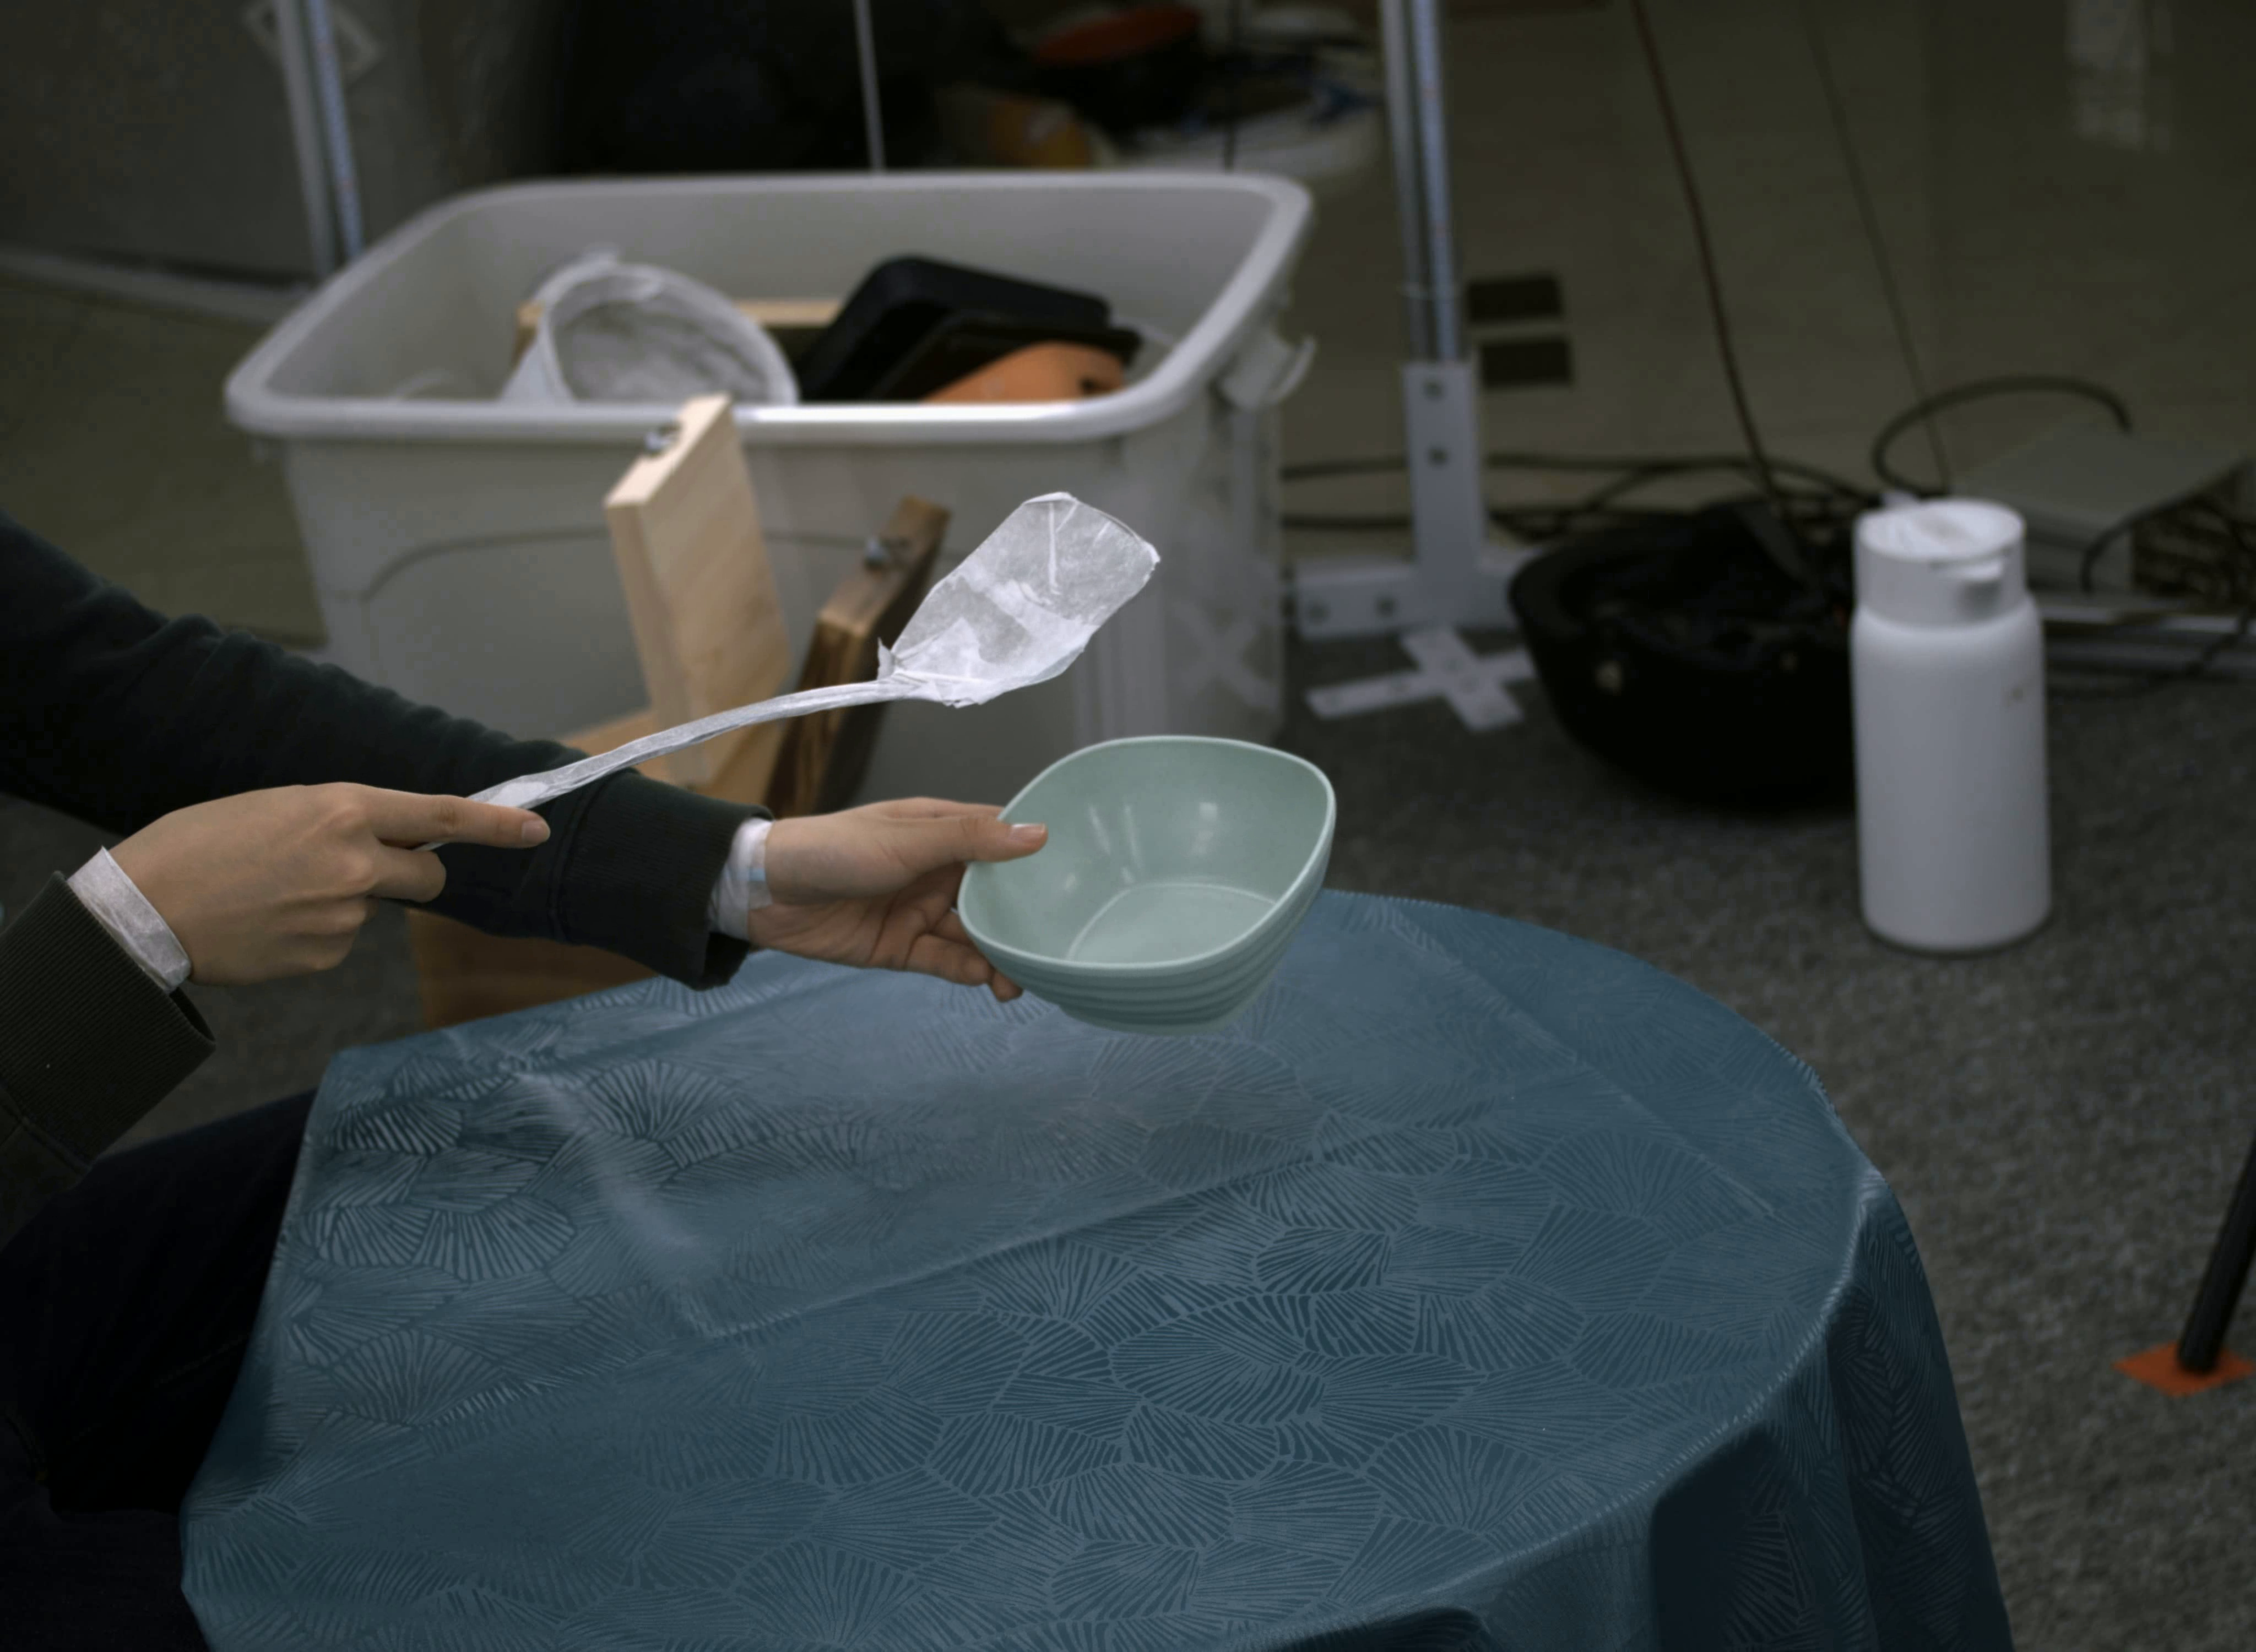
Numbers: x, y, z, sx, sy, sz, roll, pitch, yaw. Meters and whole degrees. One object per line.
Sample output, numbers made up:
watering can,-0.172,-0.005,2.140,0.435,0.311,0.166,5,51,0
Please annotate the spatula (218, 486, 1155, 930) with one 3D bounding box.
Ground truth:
spatula,-0.159,-0.038,2.037,0.363,0.045,0.097,-20,33,-20

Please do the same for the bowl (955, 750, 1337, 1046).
bowl,0.012,0.035,2.164,0.151,0.060,0.149,-8,36,6
